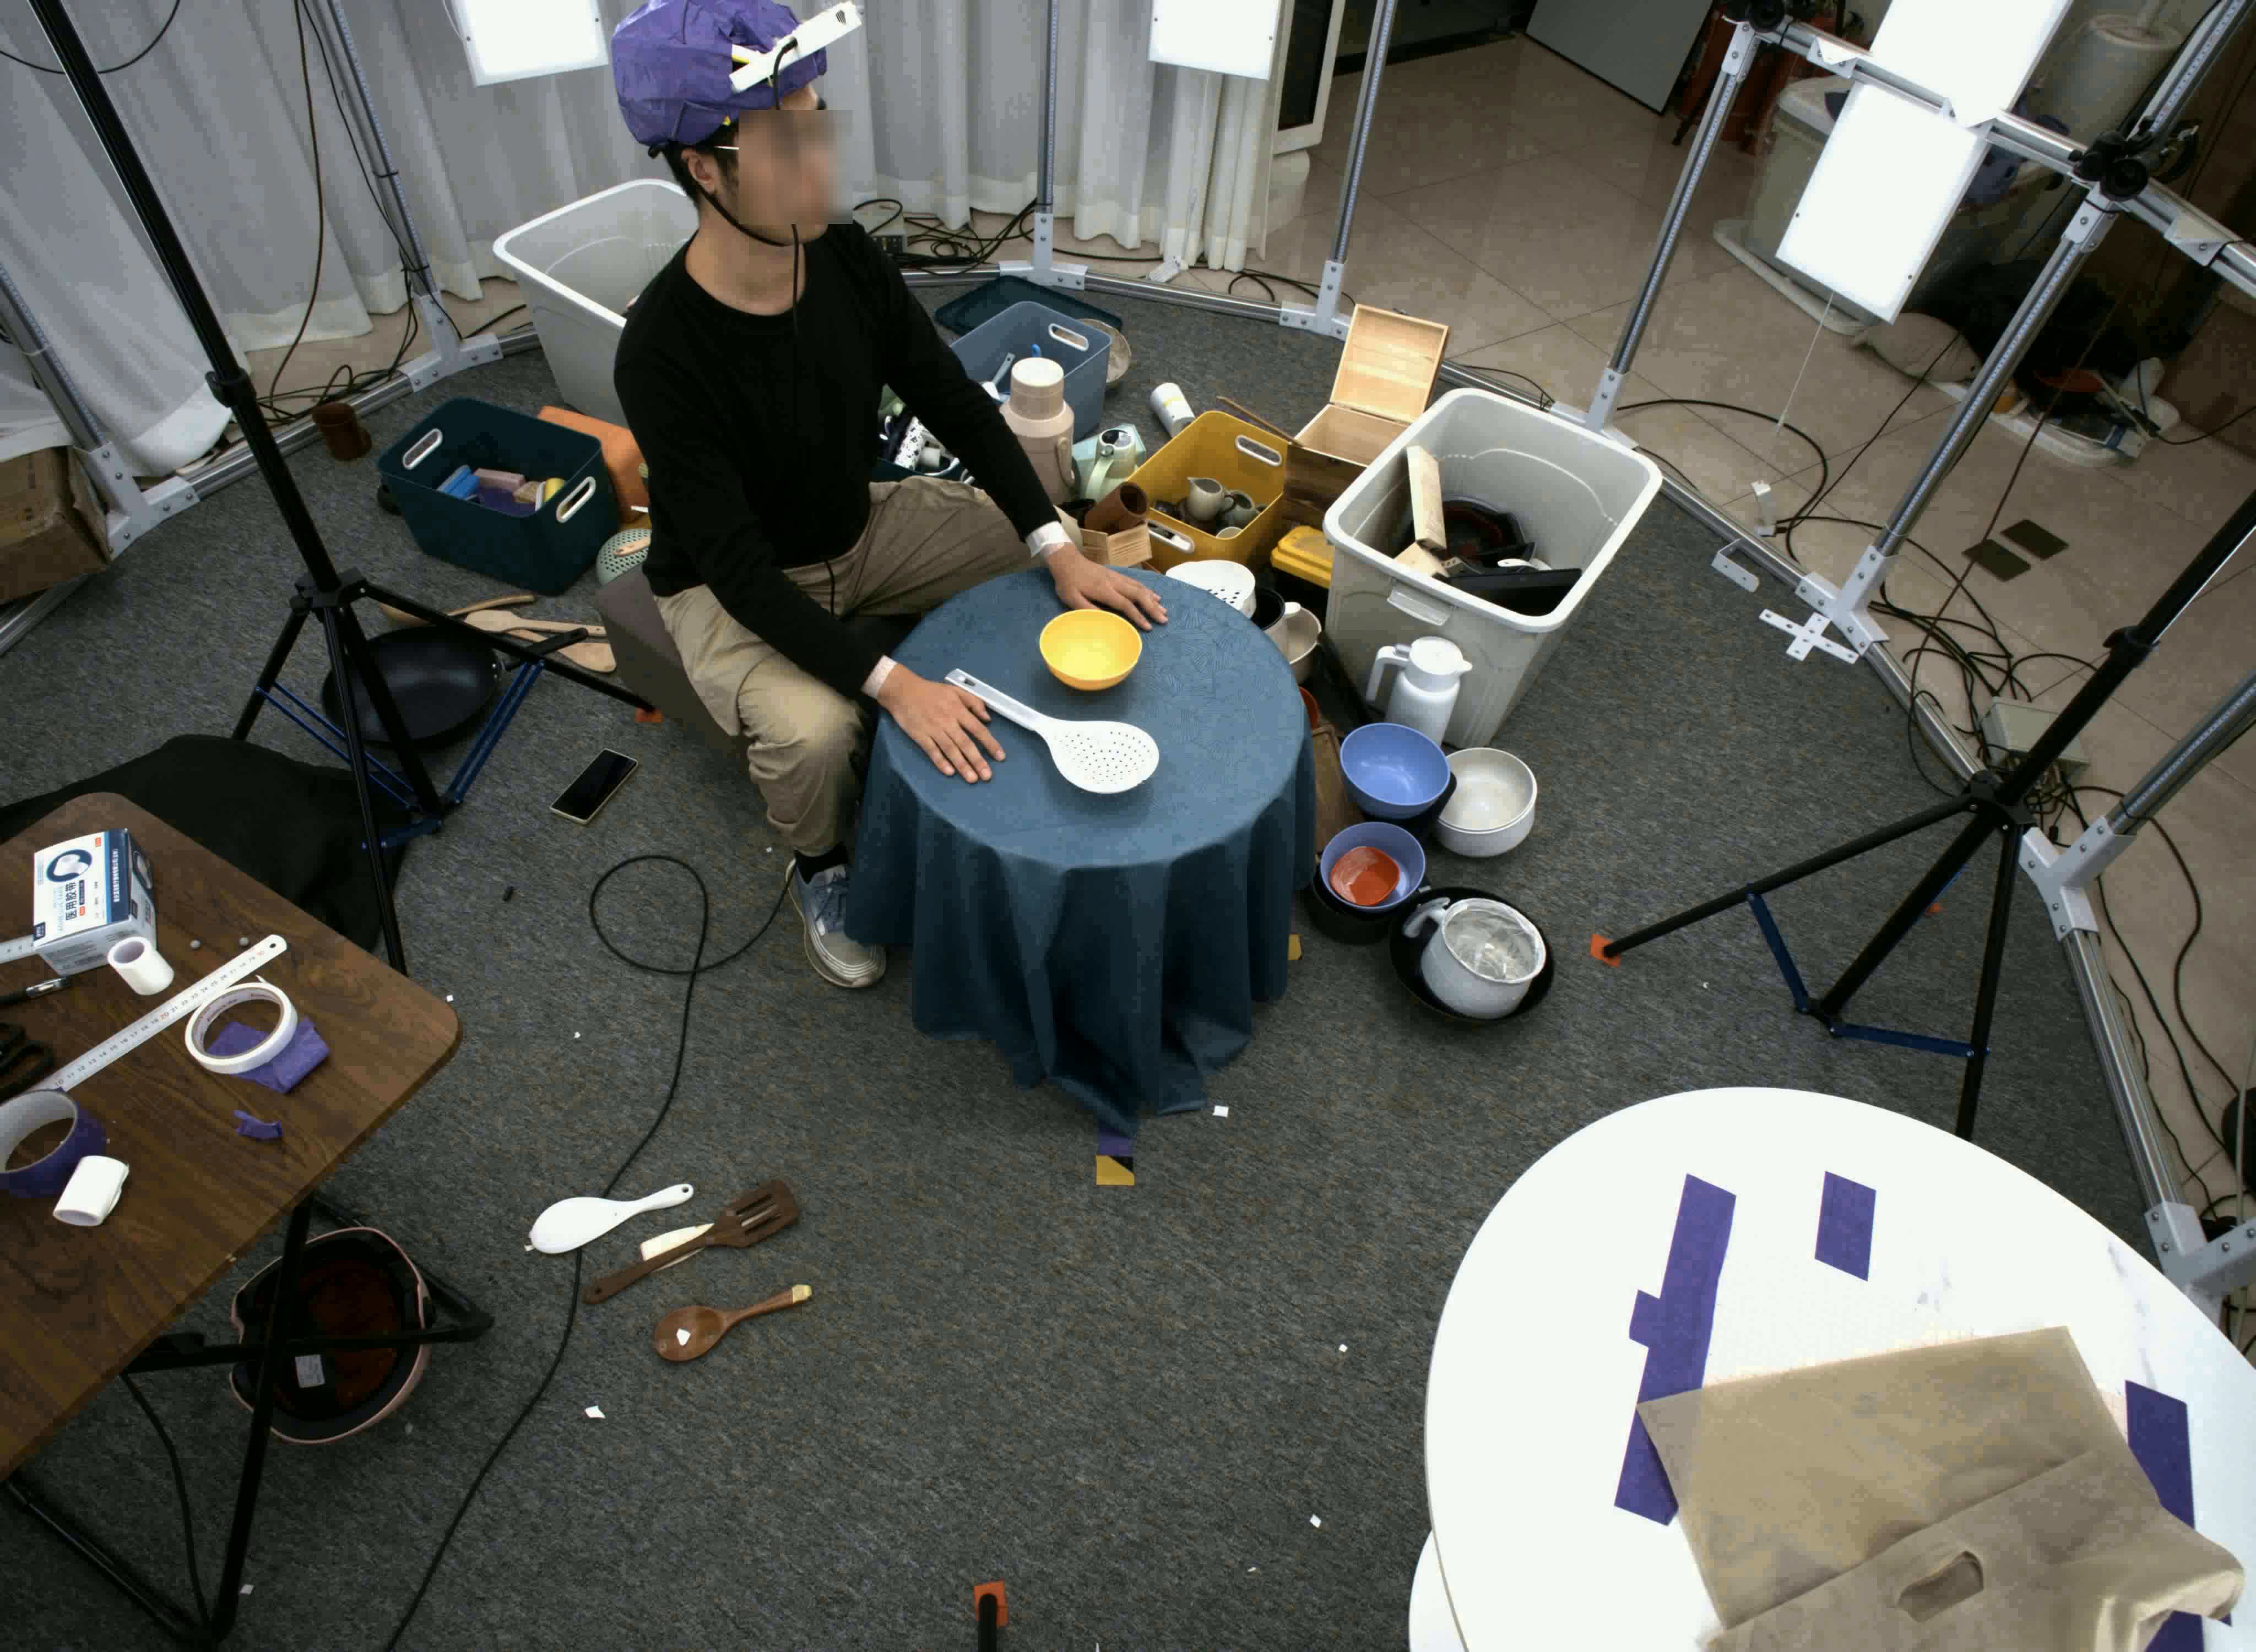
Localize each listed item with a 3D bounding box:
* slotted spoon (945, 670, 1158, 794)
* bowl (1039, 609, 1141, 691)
[{"bbox_3d":[-0.114,-0.135,1.750,0.354,0.044,0.138,32,54,23],"label":"slotted spoon"},{"bbox_3d":[-0.056,-0.240,1.838,0.145,0.059,0.149,3,50,-4],"label":"bowl"}]
